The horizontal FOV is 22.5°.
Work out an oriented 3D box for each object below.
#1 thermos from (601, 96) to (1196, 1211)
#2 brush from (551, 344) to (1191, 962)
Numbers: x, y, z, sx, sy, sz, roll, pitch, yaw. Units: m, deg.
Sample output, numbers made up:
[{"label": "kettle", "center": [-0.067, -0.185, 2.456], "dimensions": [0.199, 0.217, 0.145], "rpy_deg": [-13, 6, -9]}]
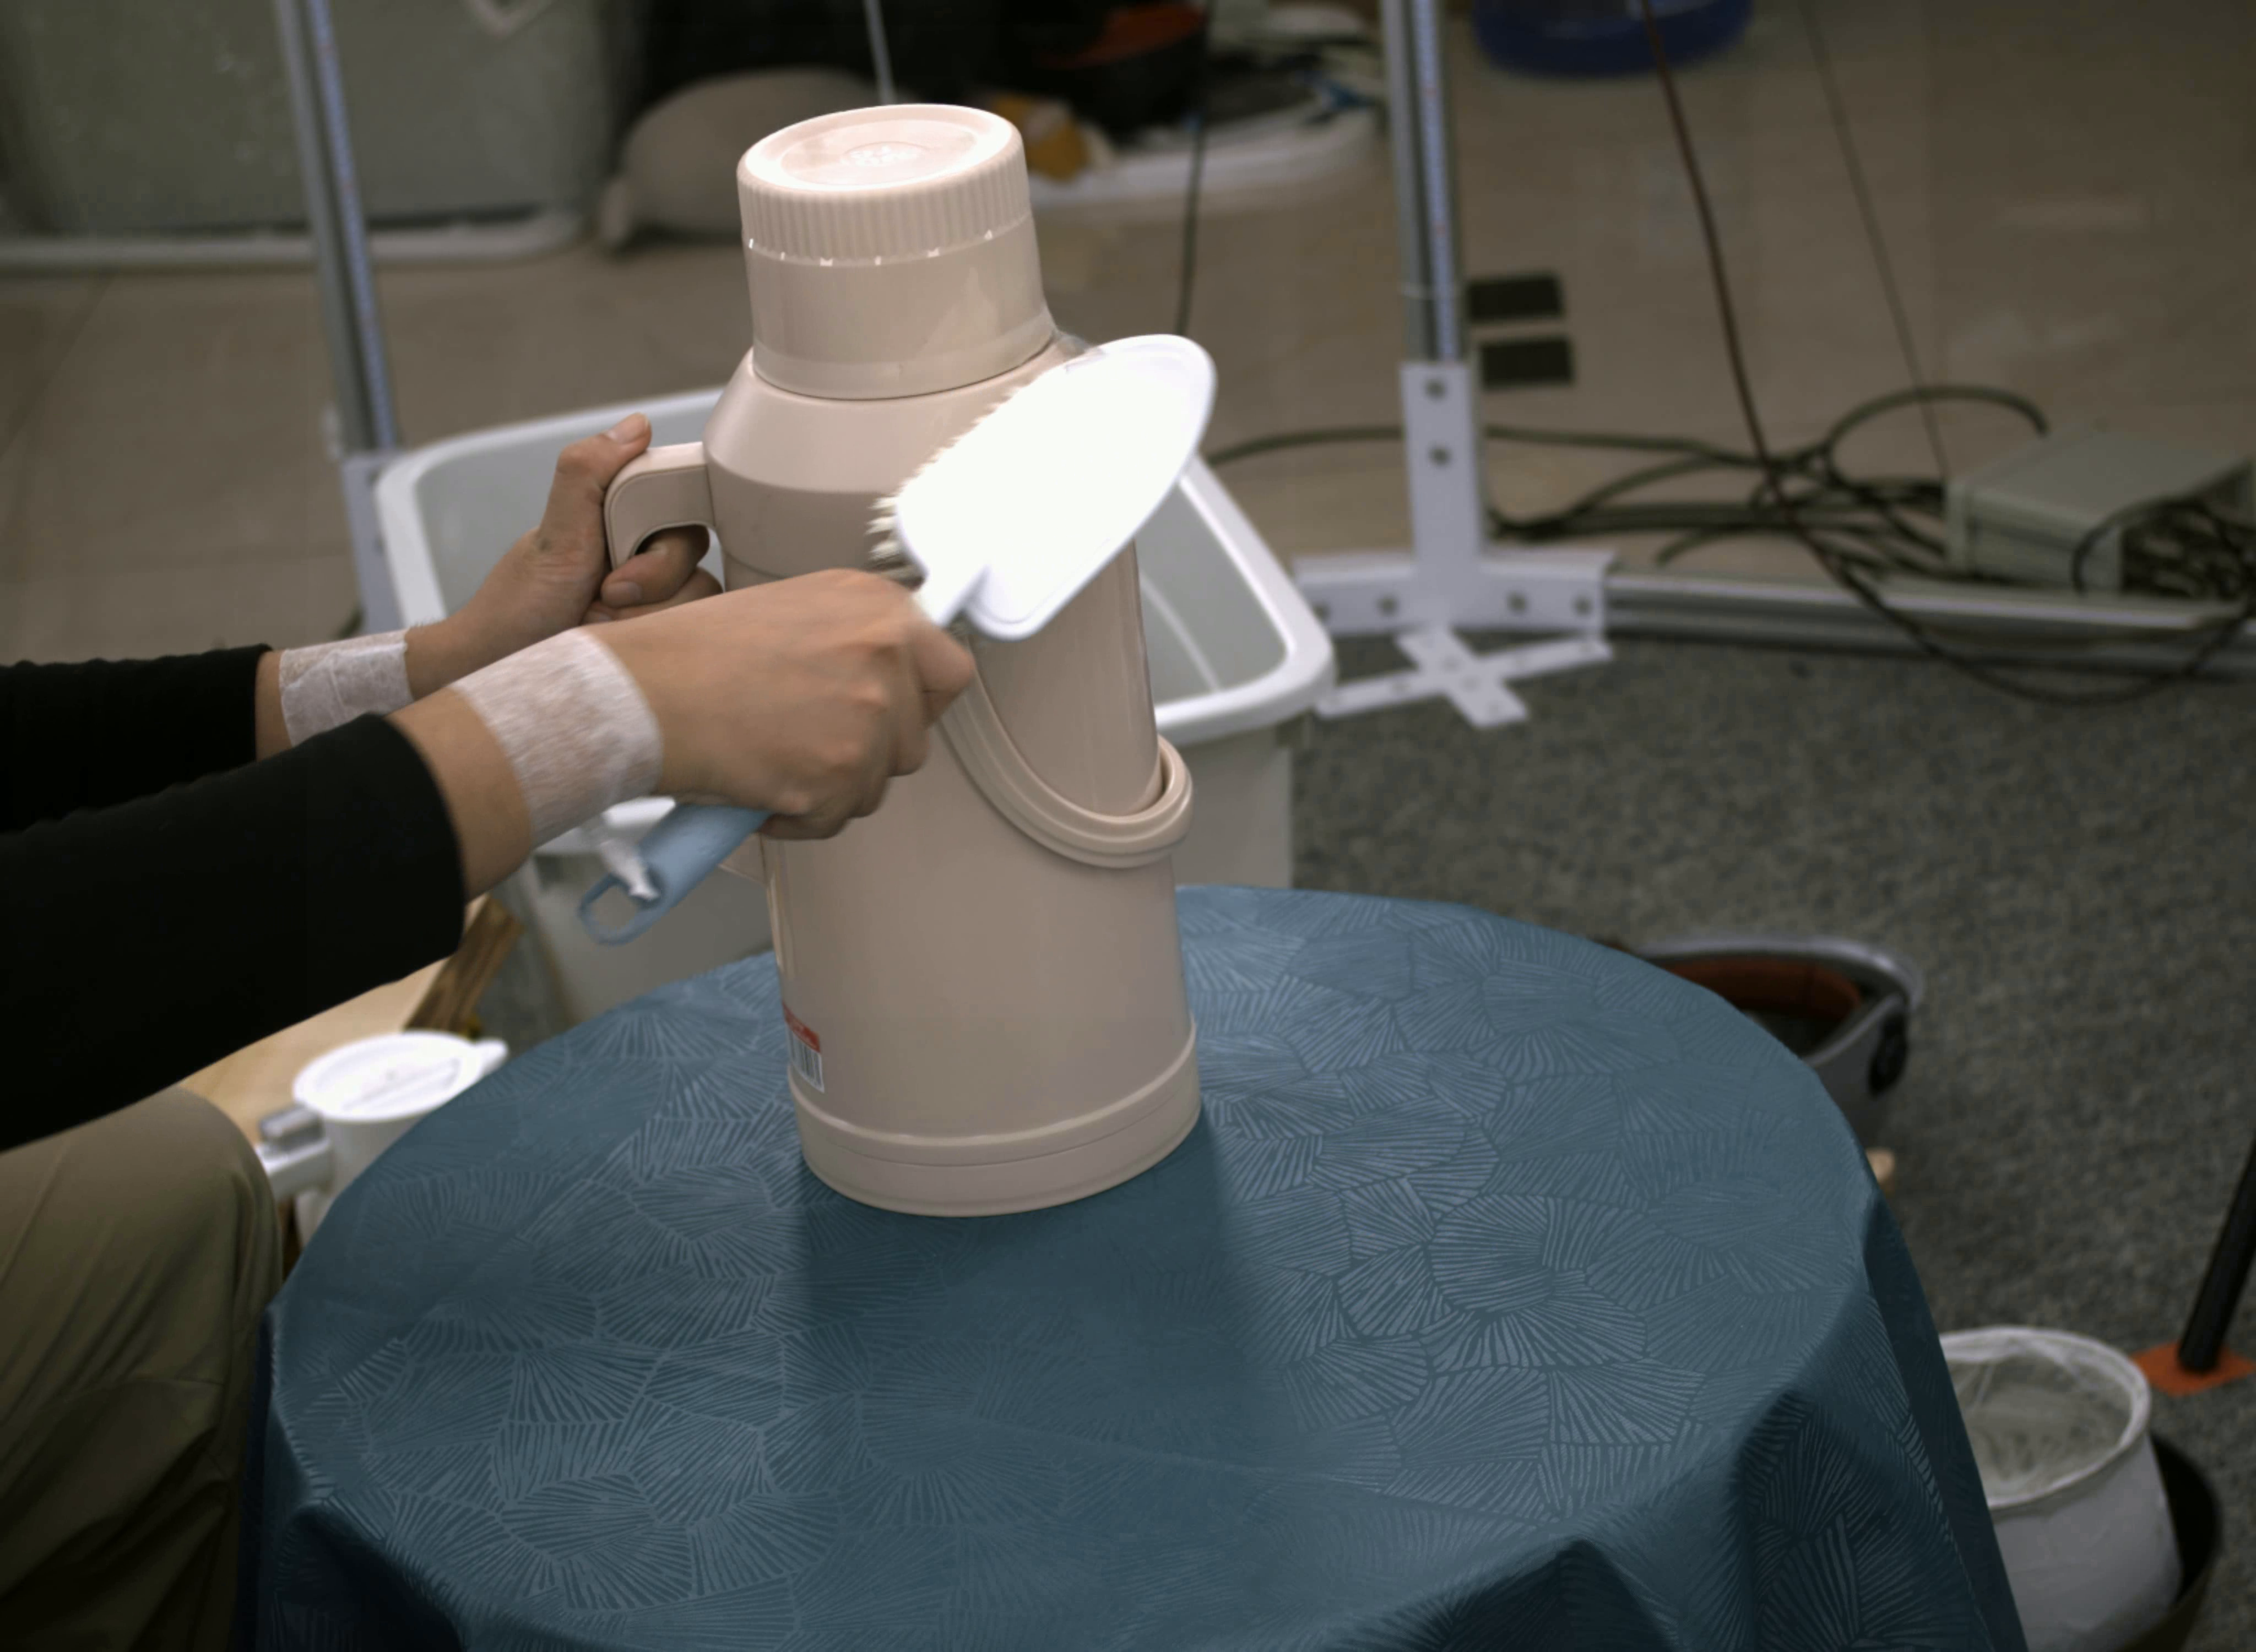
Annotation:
[{"label": "thermos", "center": [-0.085, -0.064, 2.127], "dimensions": [0.206, 0.413, 0.172], "rpy_deg": [-7, 27, -1]}, {"label": "brush", "center": [-0.098, -0.059, 1.954], "dimensions": [0.082, 0.086, 0.322], "rpy_deg": [30, 61, 27]}]
